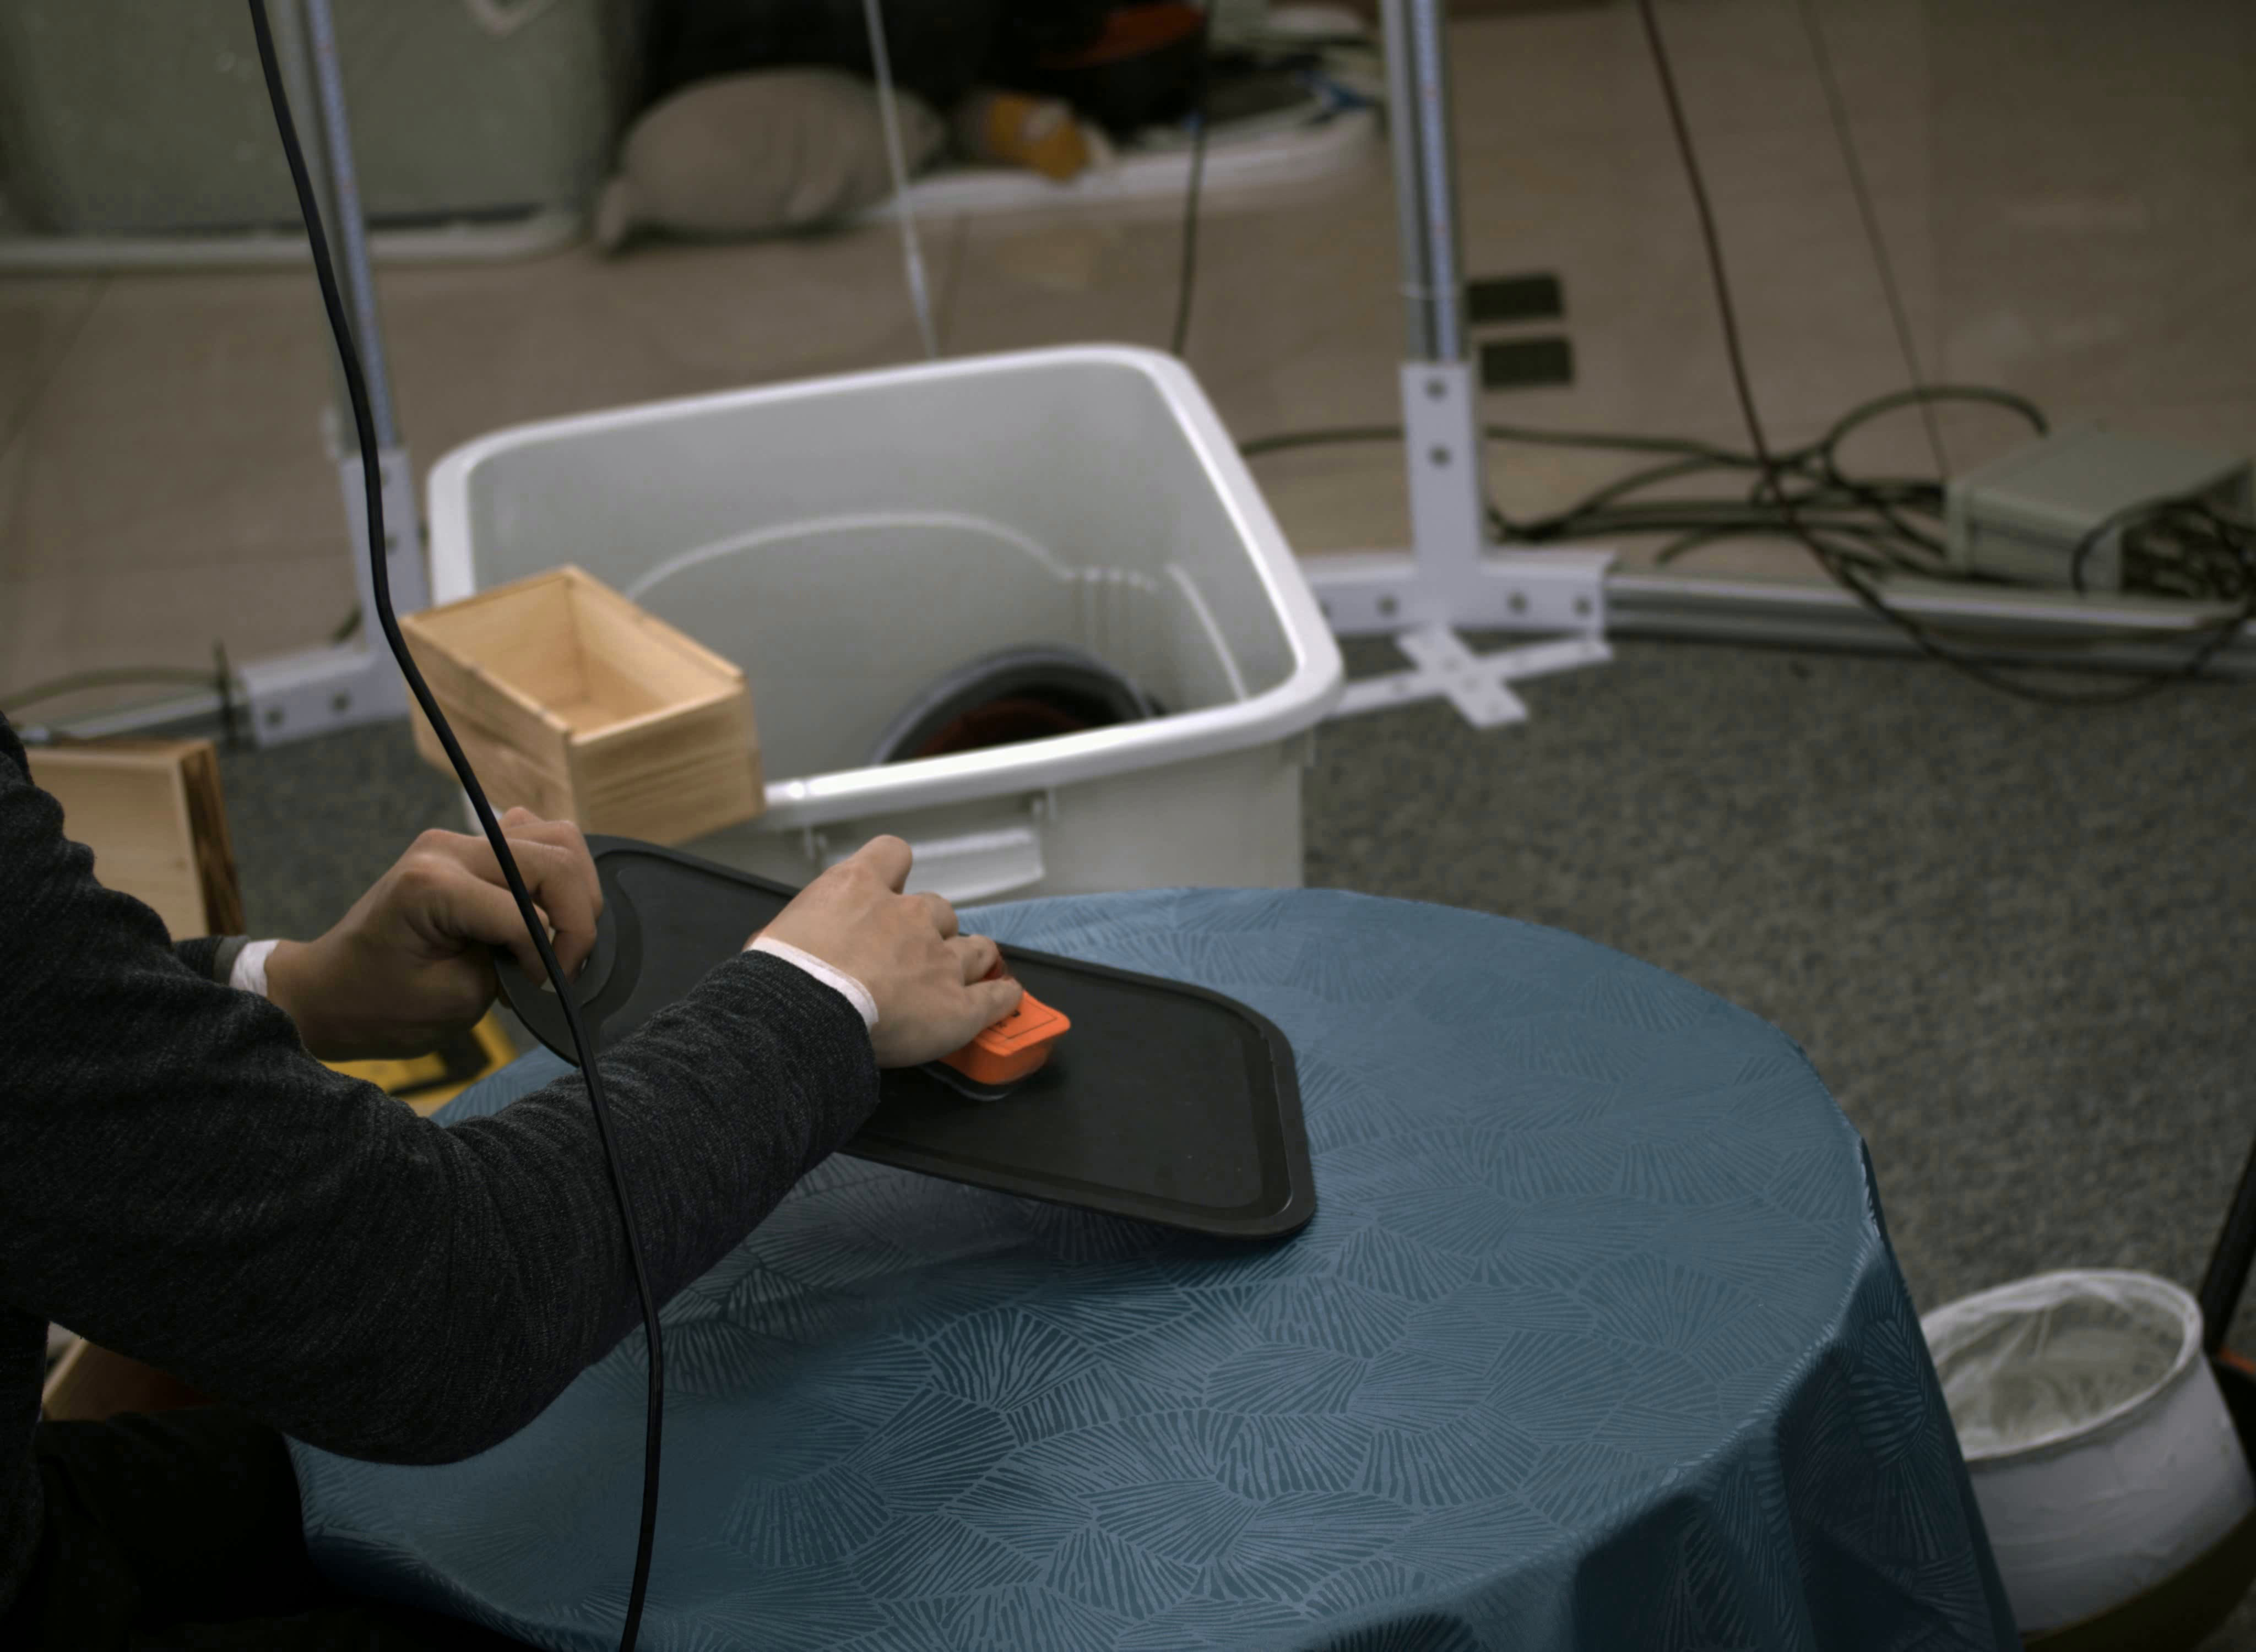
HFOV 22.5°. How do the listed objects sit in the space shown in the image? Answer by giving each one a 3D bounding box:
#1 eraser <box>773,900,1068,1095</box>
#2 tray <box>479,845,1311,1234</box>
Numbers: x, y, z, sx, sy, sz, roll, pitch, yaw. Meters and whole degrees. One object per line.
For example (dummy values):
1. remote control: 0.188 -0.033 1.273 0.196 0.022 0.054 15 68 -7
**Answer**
1. eraser: -0.079 0.066 2.160 0.107 0.023 0.058 30 27 24
2. tray: -0.088 0.076 2.153 0.325 0.010 0.208 15 22 -9
